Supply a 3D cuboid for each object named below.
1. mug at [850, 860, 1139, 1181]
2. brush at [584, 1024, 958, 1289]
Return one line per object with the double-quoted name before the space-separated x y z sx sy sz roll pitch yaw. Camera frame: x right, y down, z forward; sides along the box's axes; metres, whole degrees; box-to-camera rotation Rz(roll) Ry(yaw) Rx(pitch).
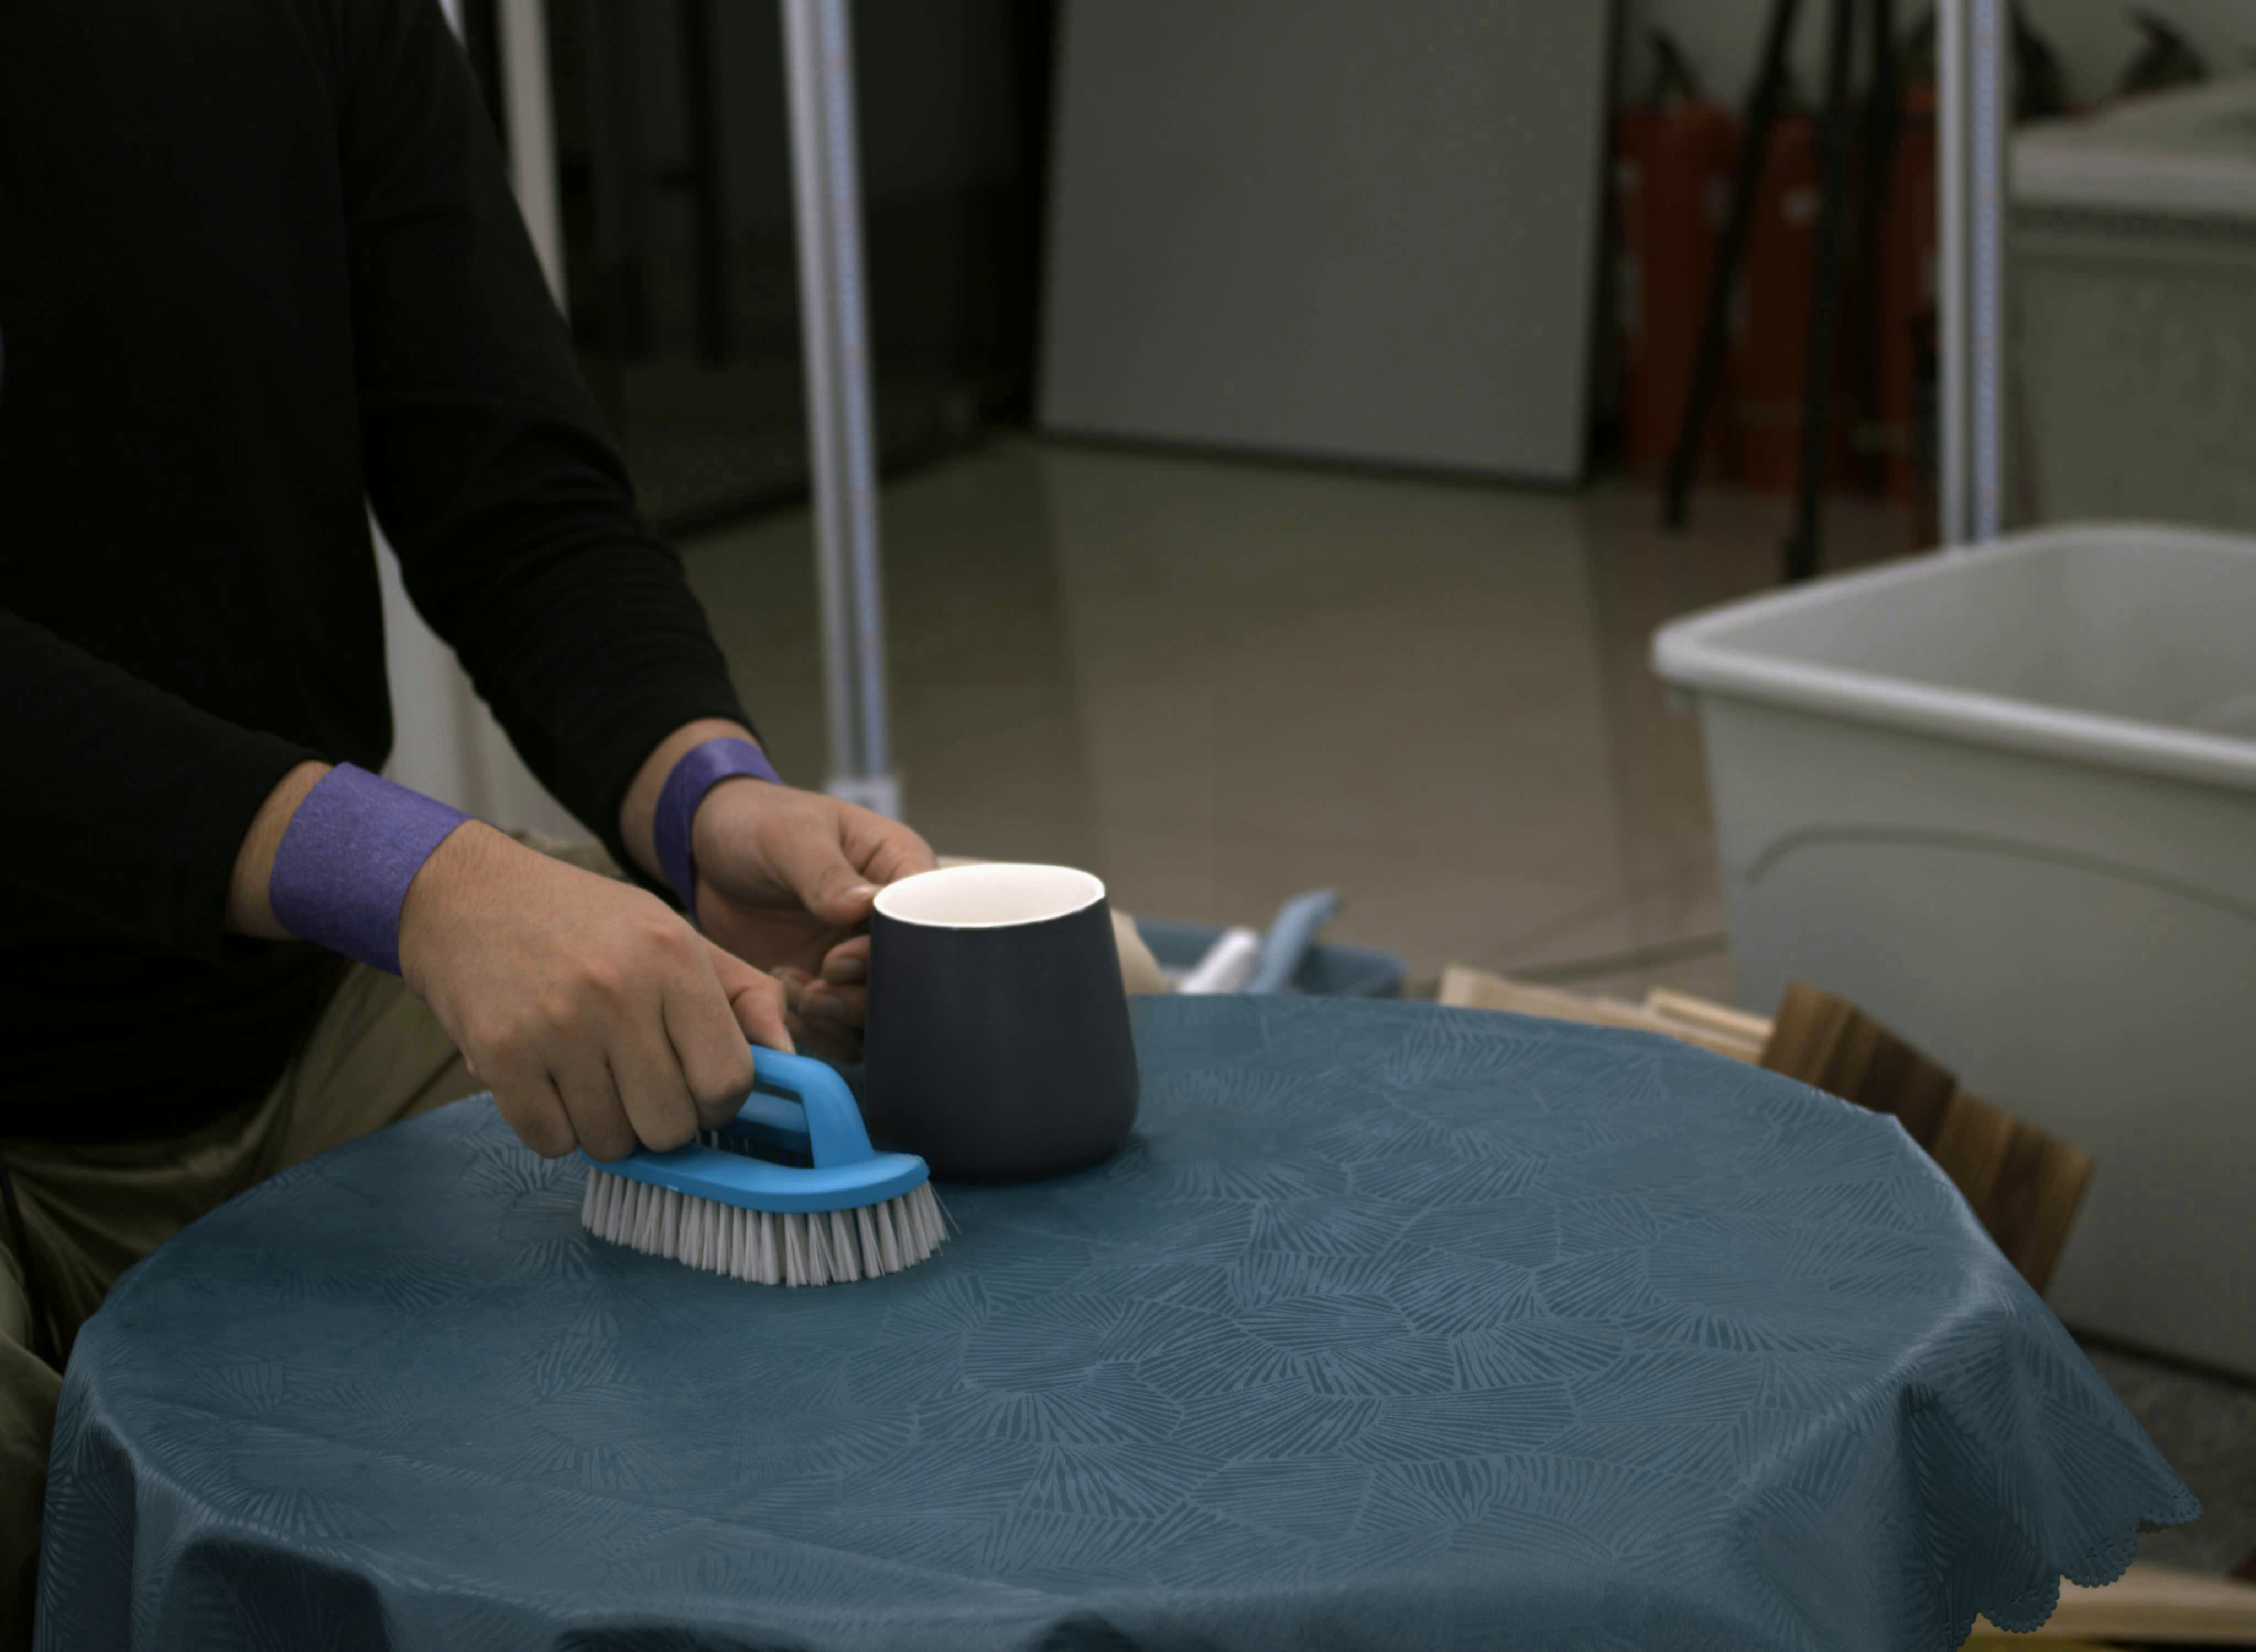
"mug" -0.053 0.062 1.824 0.091 0.091 0.124 -13 18 -36
"brush" -0.119 0.100 1.749 0.083 0.064 0.143 -21 21 -39
